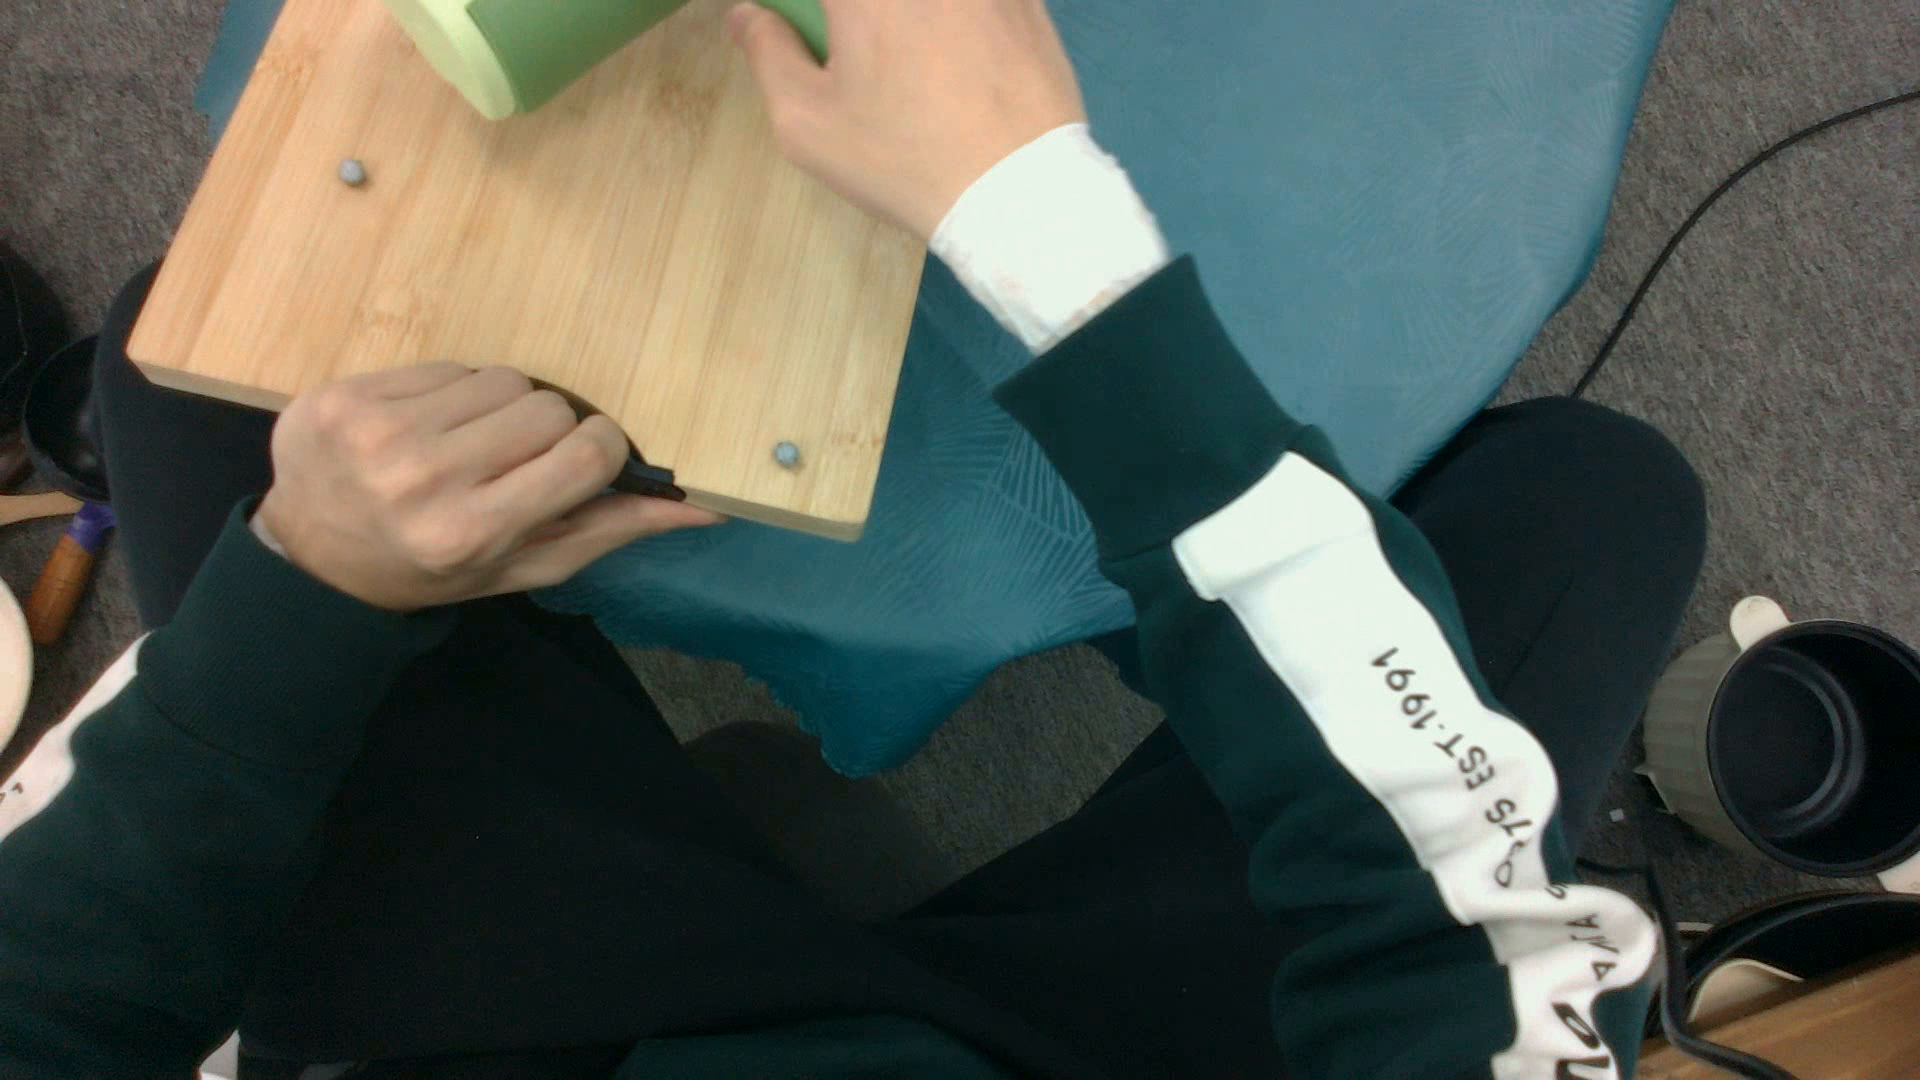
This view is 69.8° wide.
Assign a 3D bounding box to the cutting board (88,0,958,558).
[{"bbox_3d":[-0.131,-0.177,0.518,0.251,0.023,0.350,11,67,-6],"label":"cutting board"}]

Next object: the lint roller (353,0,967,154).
[{"bbox_3d":[-0.069,-0.191,0.437,0.183,0.082,0.199,38,70,26],"label":"lint roller"}]
